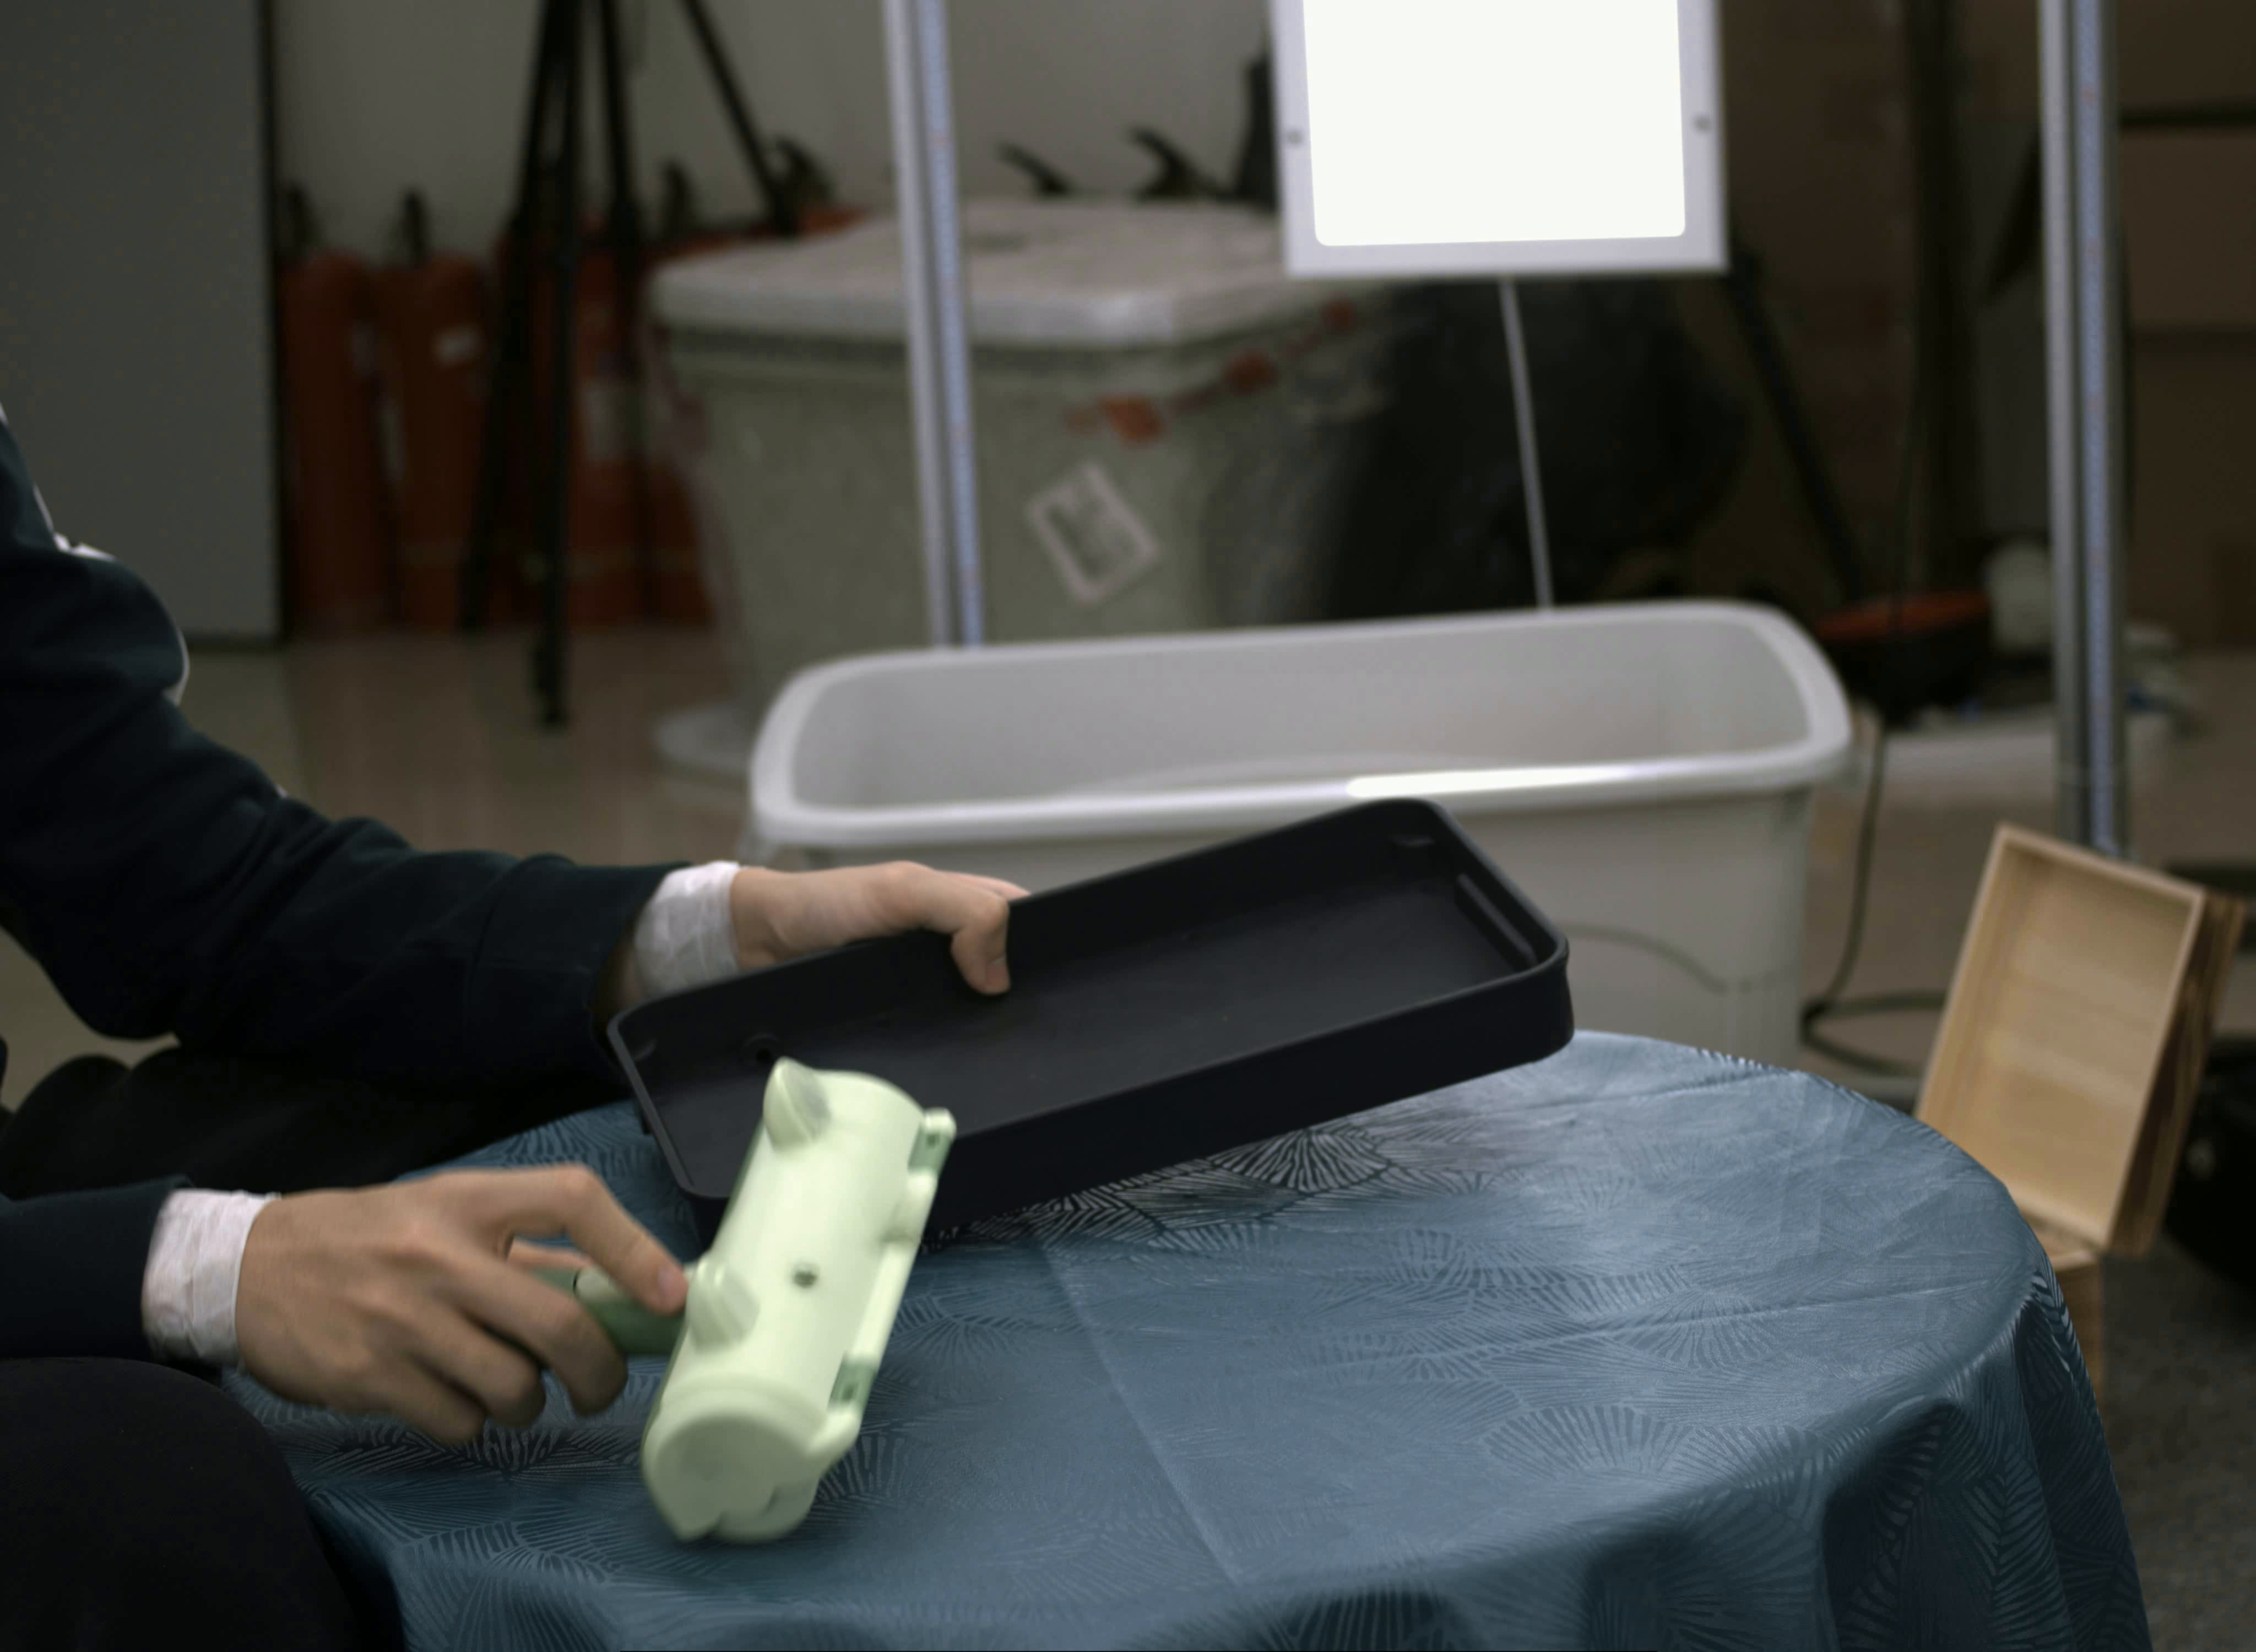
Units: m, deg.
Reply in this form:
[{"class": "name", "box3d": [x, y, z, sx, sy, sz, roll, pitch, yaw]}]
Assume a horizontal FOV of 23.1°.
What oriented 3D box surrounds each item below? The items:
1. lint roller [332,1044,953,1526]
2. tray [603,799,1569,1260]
[{"class": "lint roller", "box3d": [-0.156, 0.131, 1.677, 0.184, 0.082, 0.196, 0, 27, 9]}, {"class": "tray", "box3d": [-0.016, 0.071, 1.925, 0.315, 0.037, 0.185, -15, 23, -7]}]
